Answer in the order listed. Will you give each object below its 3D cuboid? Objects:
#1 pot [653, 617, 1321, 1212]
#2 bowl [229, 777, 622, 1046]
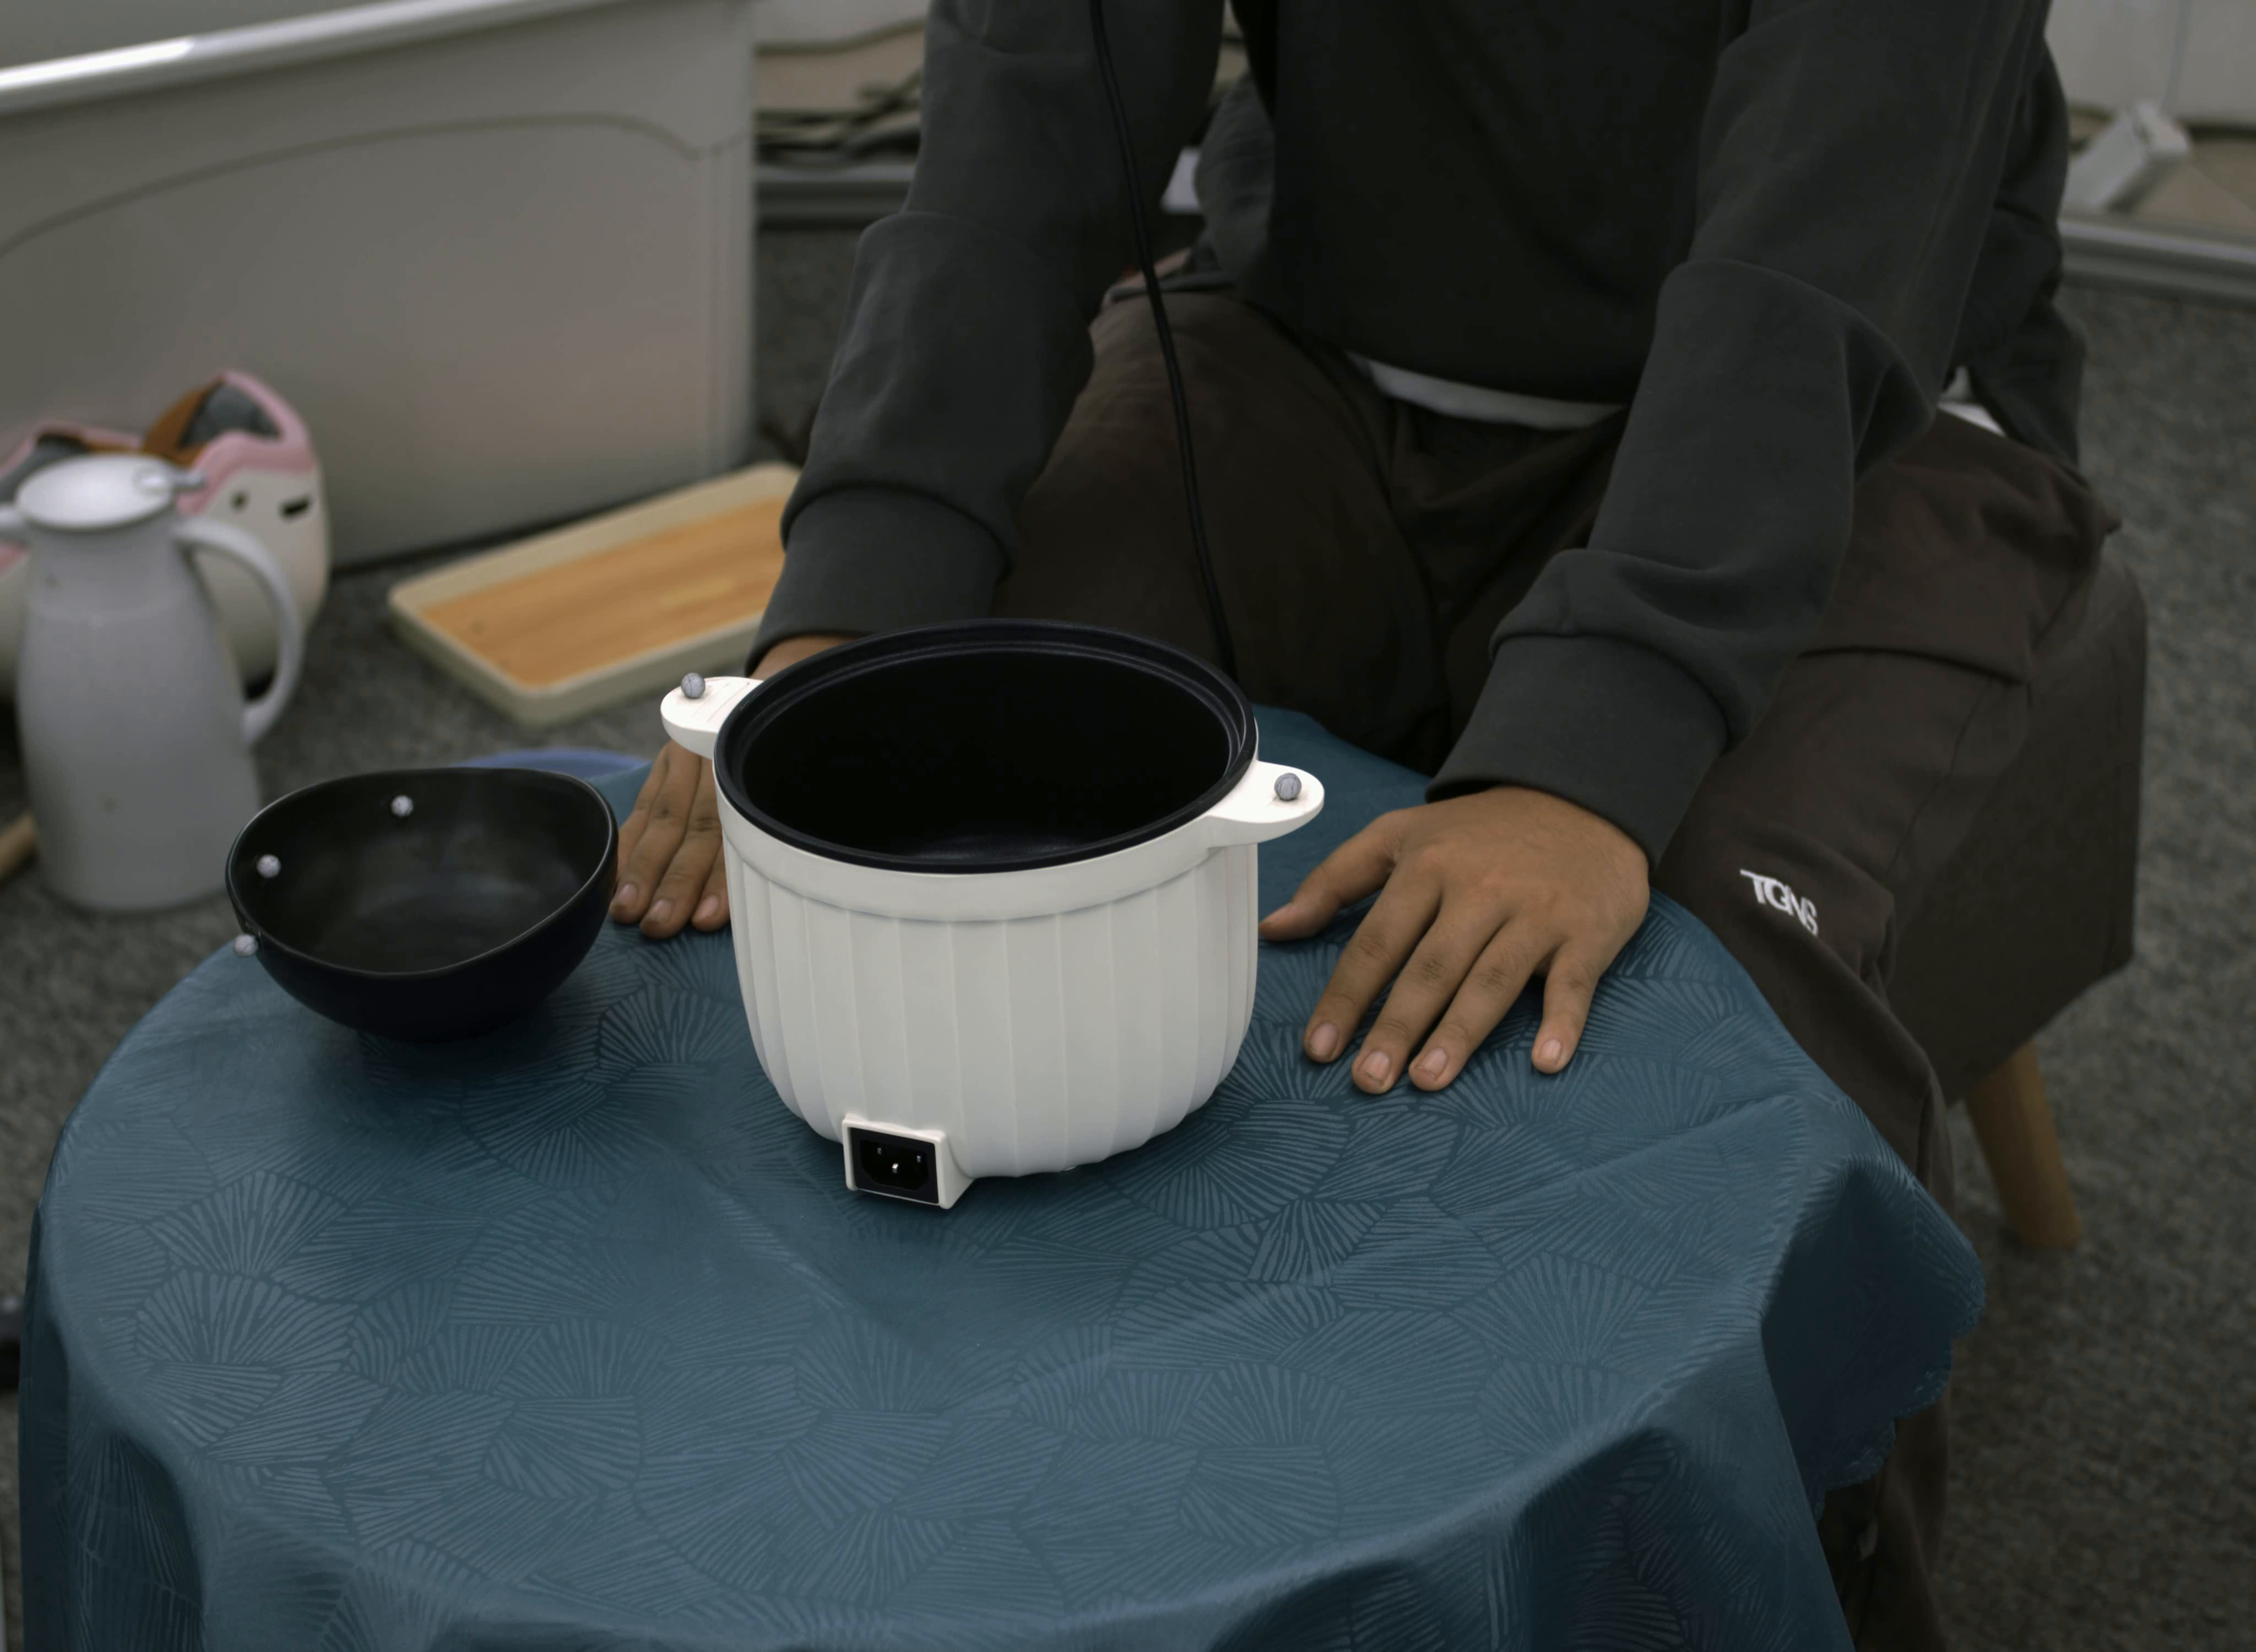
[{"bbox_3d":[-0.045,0.027,1.904,0.239,0.141,0.194,10,32,20],"label":"pot"},{"bbox_3d":[-0.245,0.035,1.985,0.136,0.066,0.173,-2,26,2],"label":"bowl"}]
